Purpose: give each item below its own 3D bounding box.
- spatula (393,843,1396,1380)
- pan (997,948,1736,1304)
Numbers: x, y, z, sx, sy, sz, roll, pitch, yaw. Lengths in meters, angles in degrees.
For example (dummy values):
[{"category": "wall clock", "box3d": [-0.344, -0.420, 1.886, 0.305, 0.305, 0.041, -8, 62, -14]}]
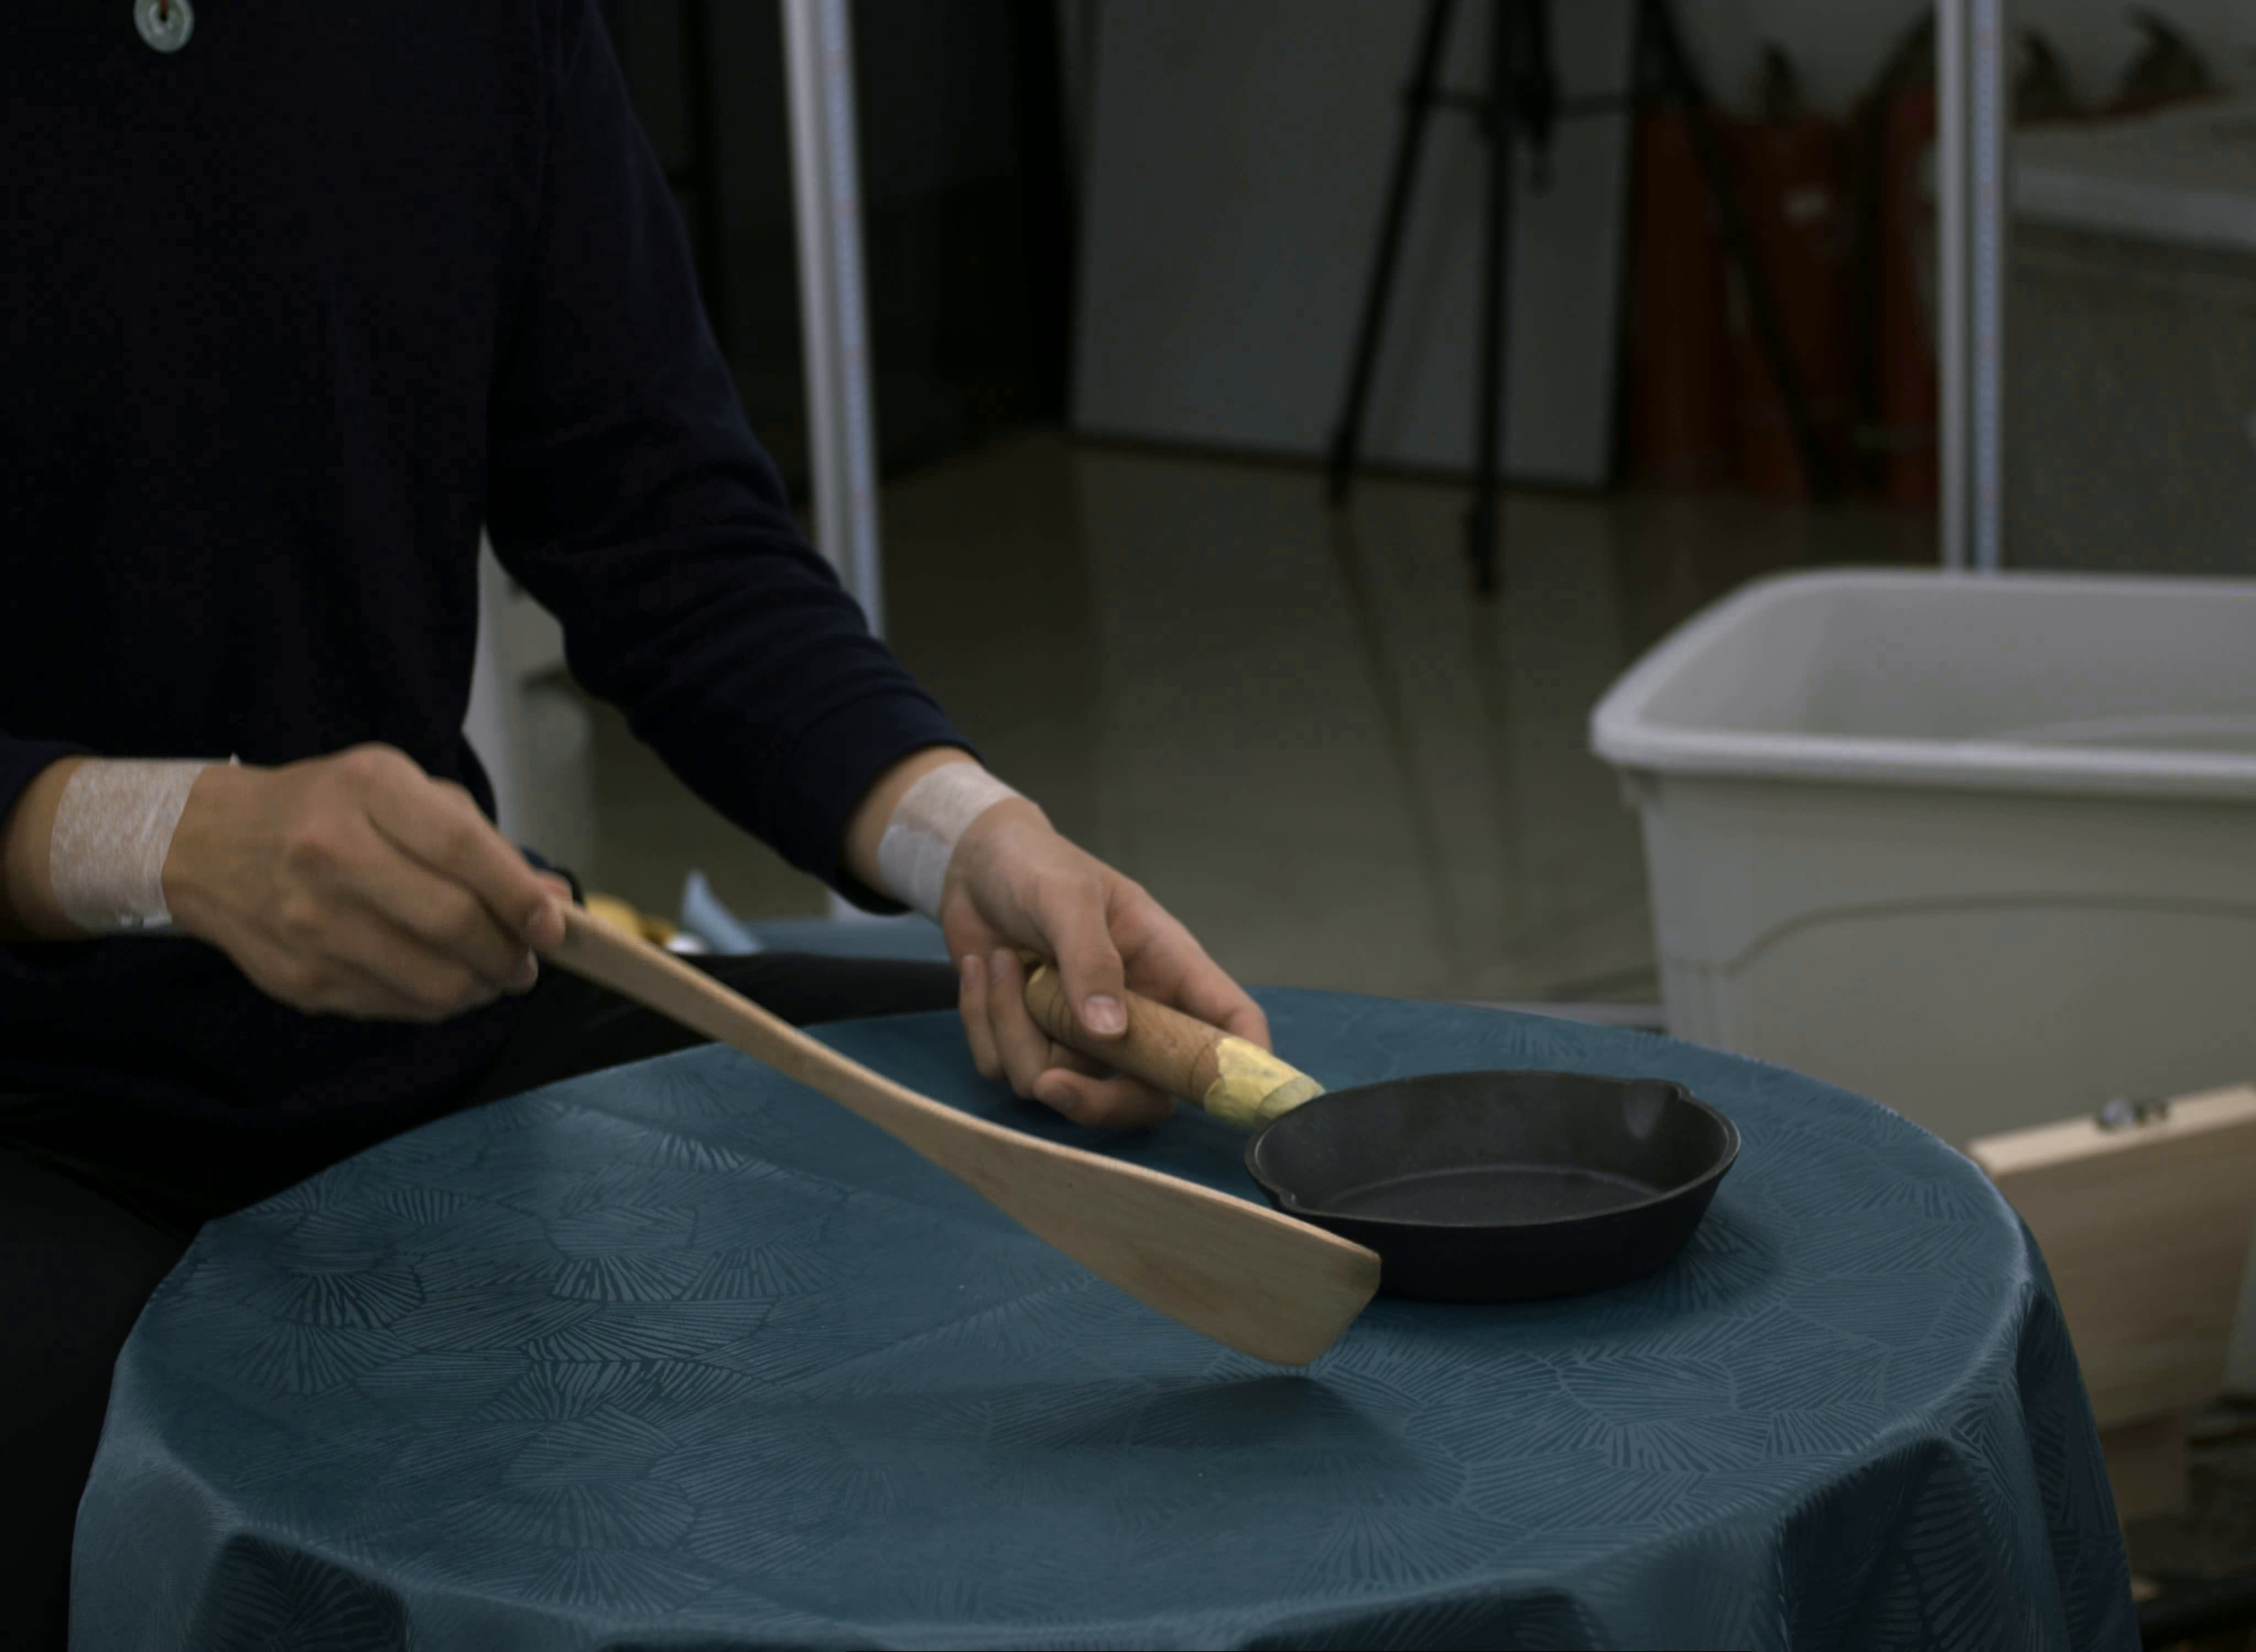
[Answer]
[{"category": "spatula", "box3d": [-0.074, 0.079, 1.587, 0.327, 0.080, 0.016, 26, 53, 12]}, {"category": "pan", "box3d": [0.062, 0.093, 1.758, 0.165, 0.050, 0.327, -14, 19, -35]}]
